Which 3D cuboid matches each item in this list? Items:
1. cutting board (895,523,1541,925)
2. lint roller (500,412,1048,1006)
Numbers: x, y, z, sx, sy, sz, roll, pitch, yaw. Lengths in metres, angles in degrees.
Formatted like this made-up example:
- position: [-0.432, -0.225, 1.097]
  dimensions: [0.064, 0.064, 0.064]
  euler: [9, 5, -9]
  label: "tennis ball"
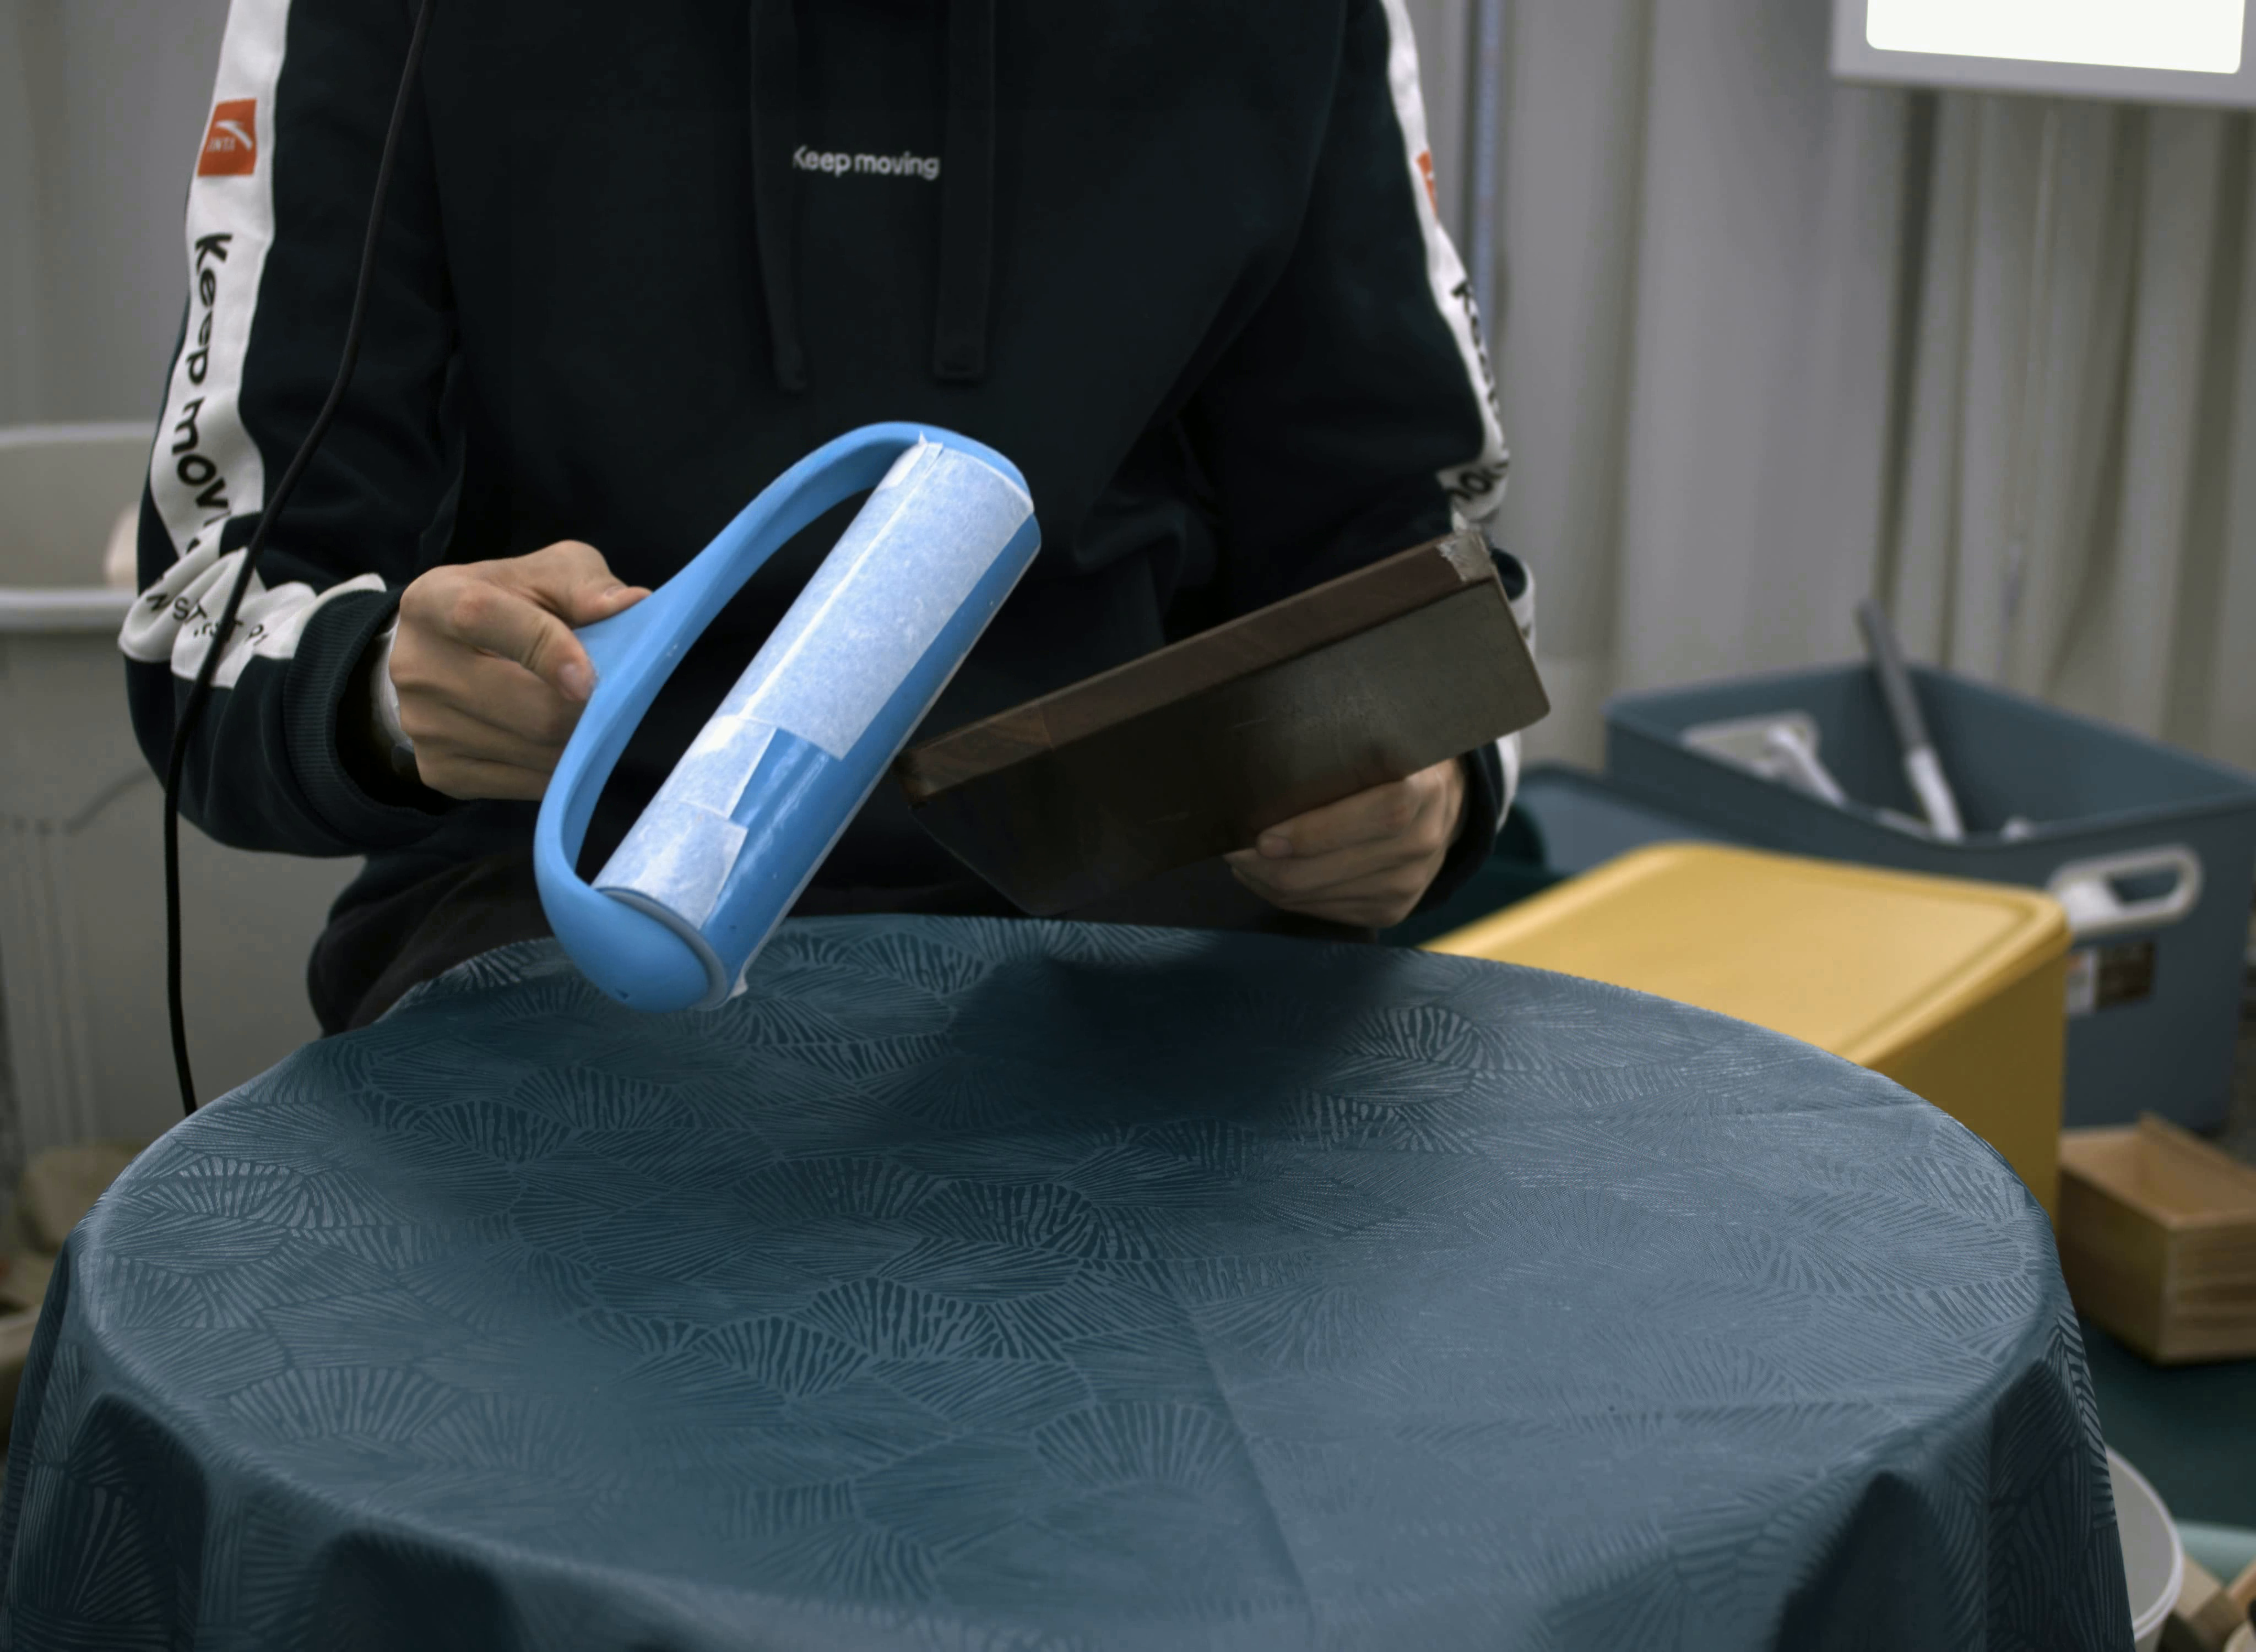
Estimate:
- position: [0.042, -0.021, 1.768]
  dimensions: [0.200, 0.023, 0.354]
  euler: [-22, -12, 4]
  label: "cutting board"
- position: [-0.141, -0.039, 1.640]
  dimensions: [0.178, 0.069, 0.228]
  euler: [3, 50, 36]
  label: "lint roller"
